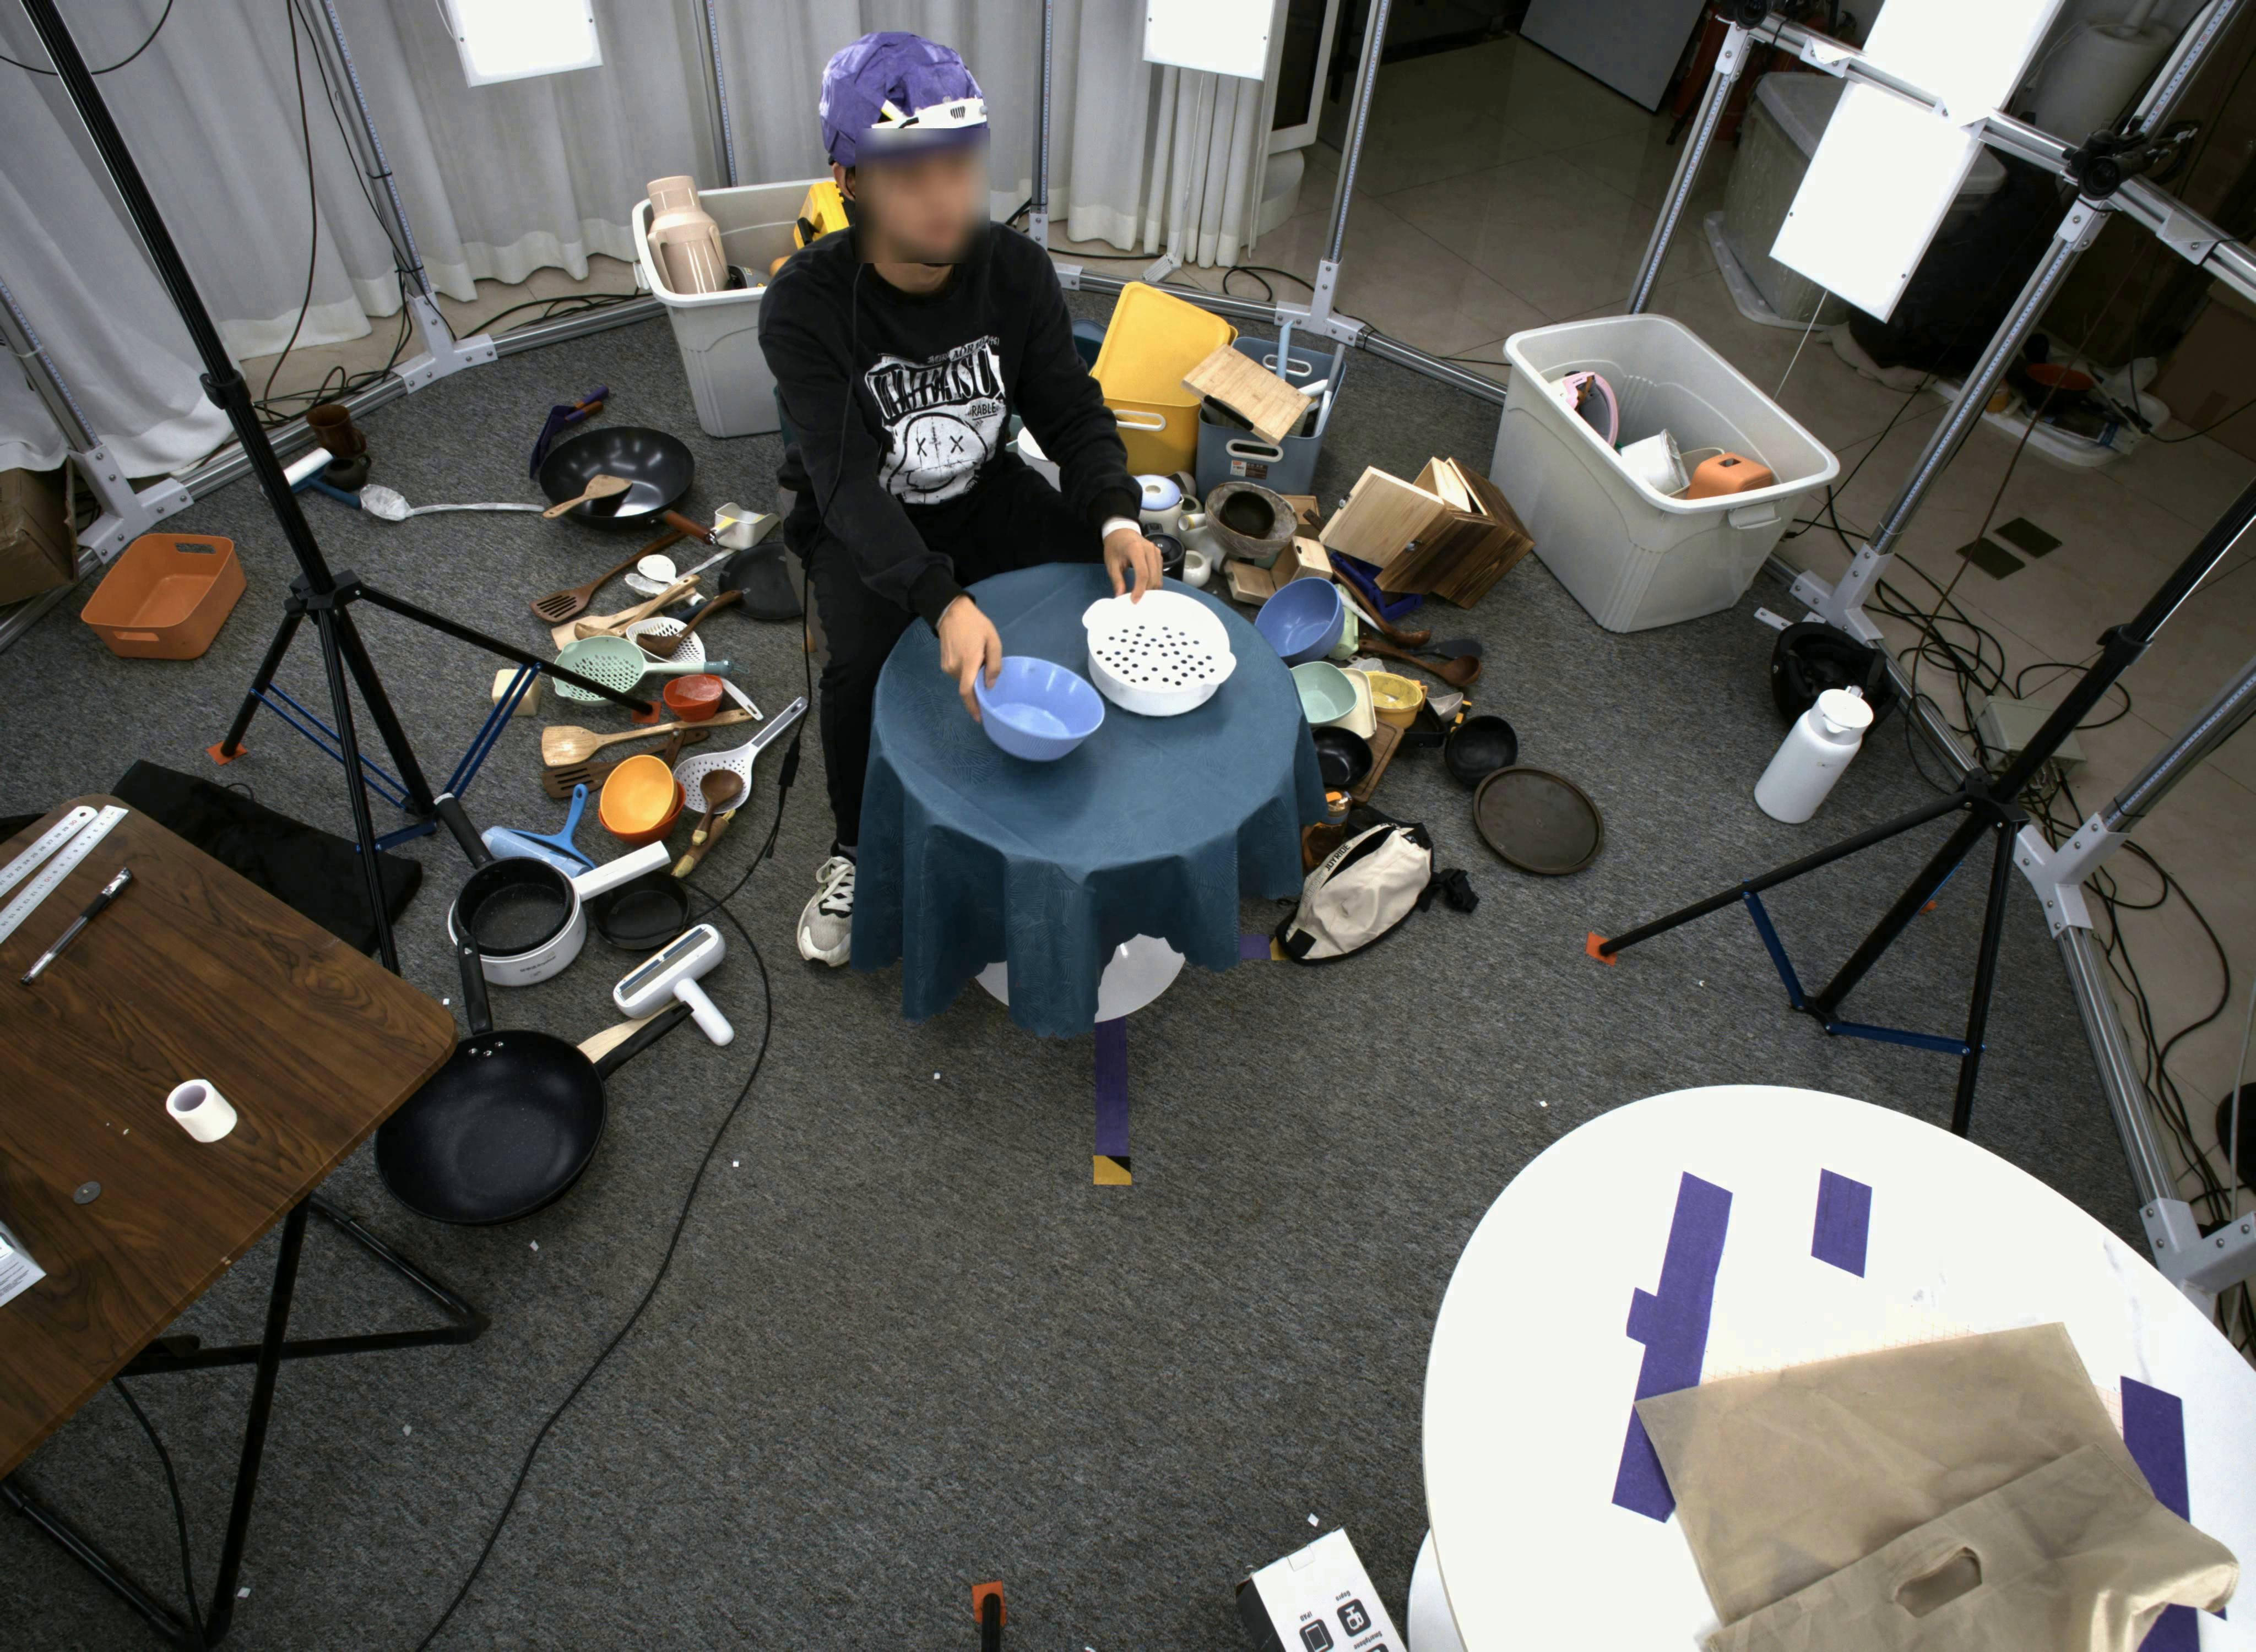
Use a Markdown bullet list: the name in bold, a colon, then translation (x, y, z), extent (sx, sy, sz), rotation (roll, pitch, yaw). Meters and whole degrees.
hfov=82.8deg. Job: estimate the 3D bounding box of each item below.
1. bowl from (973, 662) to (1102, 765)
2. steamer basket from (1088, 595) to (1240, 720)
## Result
- **bowl**: translation (-0.128, -0.142, 1.720), extent (0.175, 0.069, 0.180), rotation (13, 38, -11)
- **steamer basket**: translation (0.048, -0.242, 1.852), extent (0.232, 0.067, 0.205), rotation (26, 53, 14)
